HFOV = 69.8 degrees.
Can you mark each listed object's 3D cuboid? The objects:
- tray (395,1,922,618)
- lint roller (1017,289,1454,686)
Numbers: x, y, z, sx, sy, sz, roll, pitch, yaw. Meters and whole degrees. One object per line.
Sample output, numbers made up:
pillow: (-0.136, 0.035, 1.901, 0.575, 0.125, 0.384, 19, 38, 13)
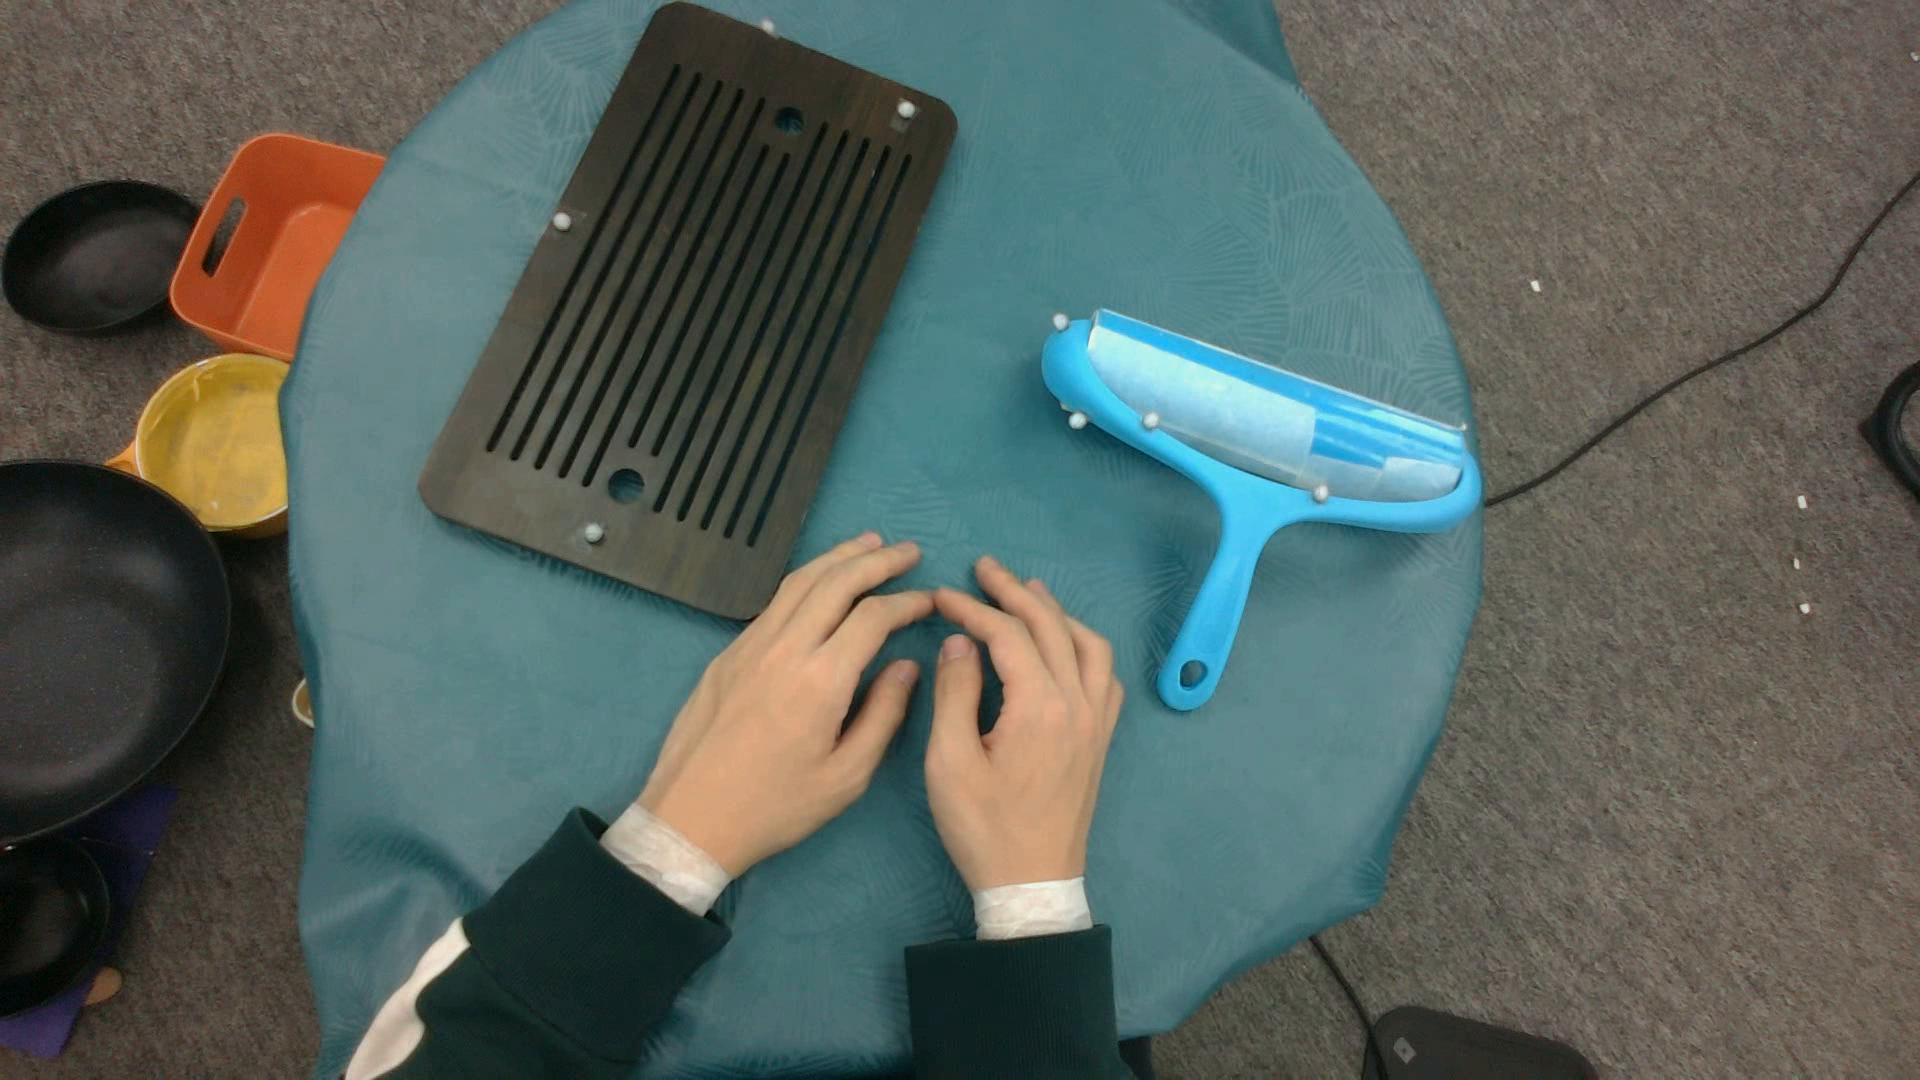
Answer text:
tray: (-0.140, -0.123, 0.686, 0.170, 0.018, 0.307, 18, 71, -3)
lint roller: (0.127, -0.020, 0.674, 0.229, 0.067, 0.181, 15, 69, -6)
